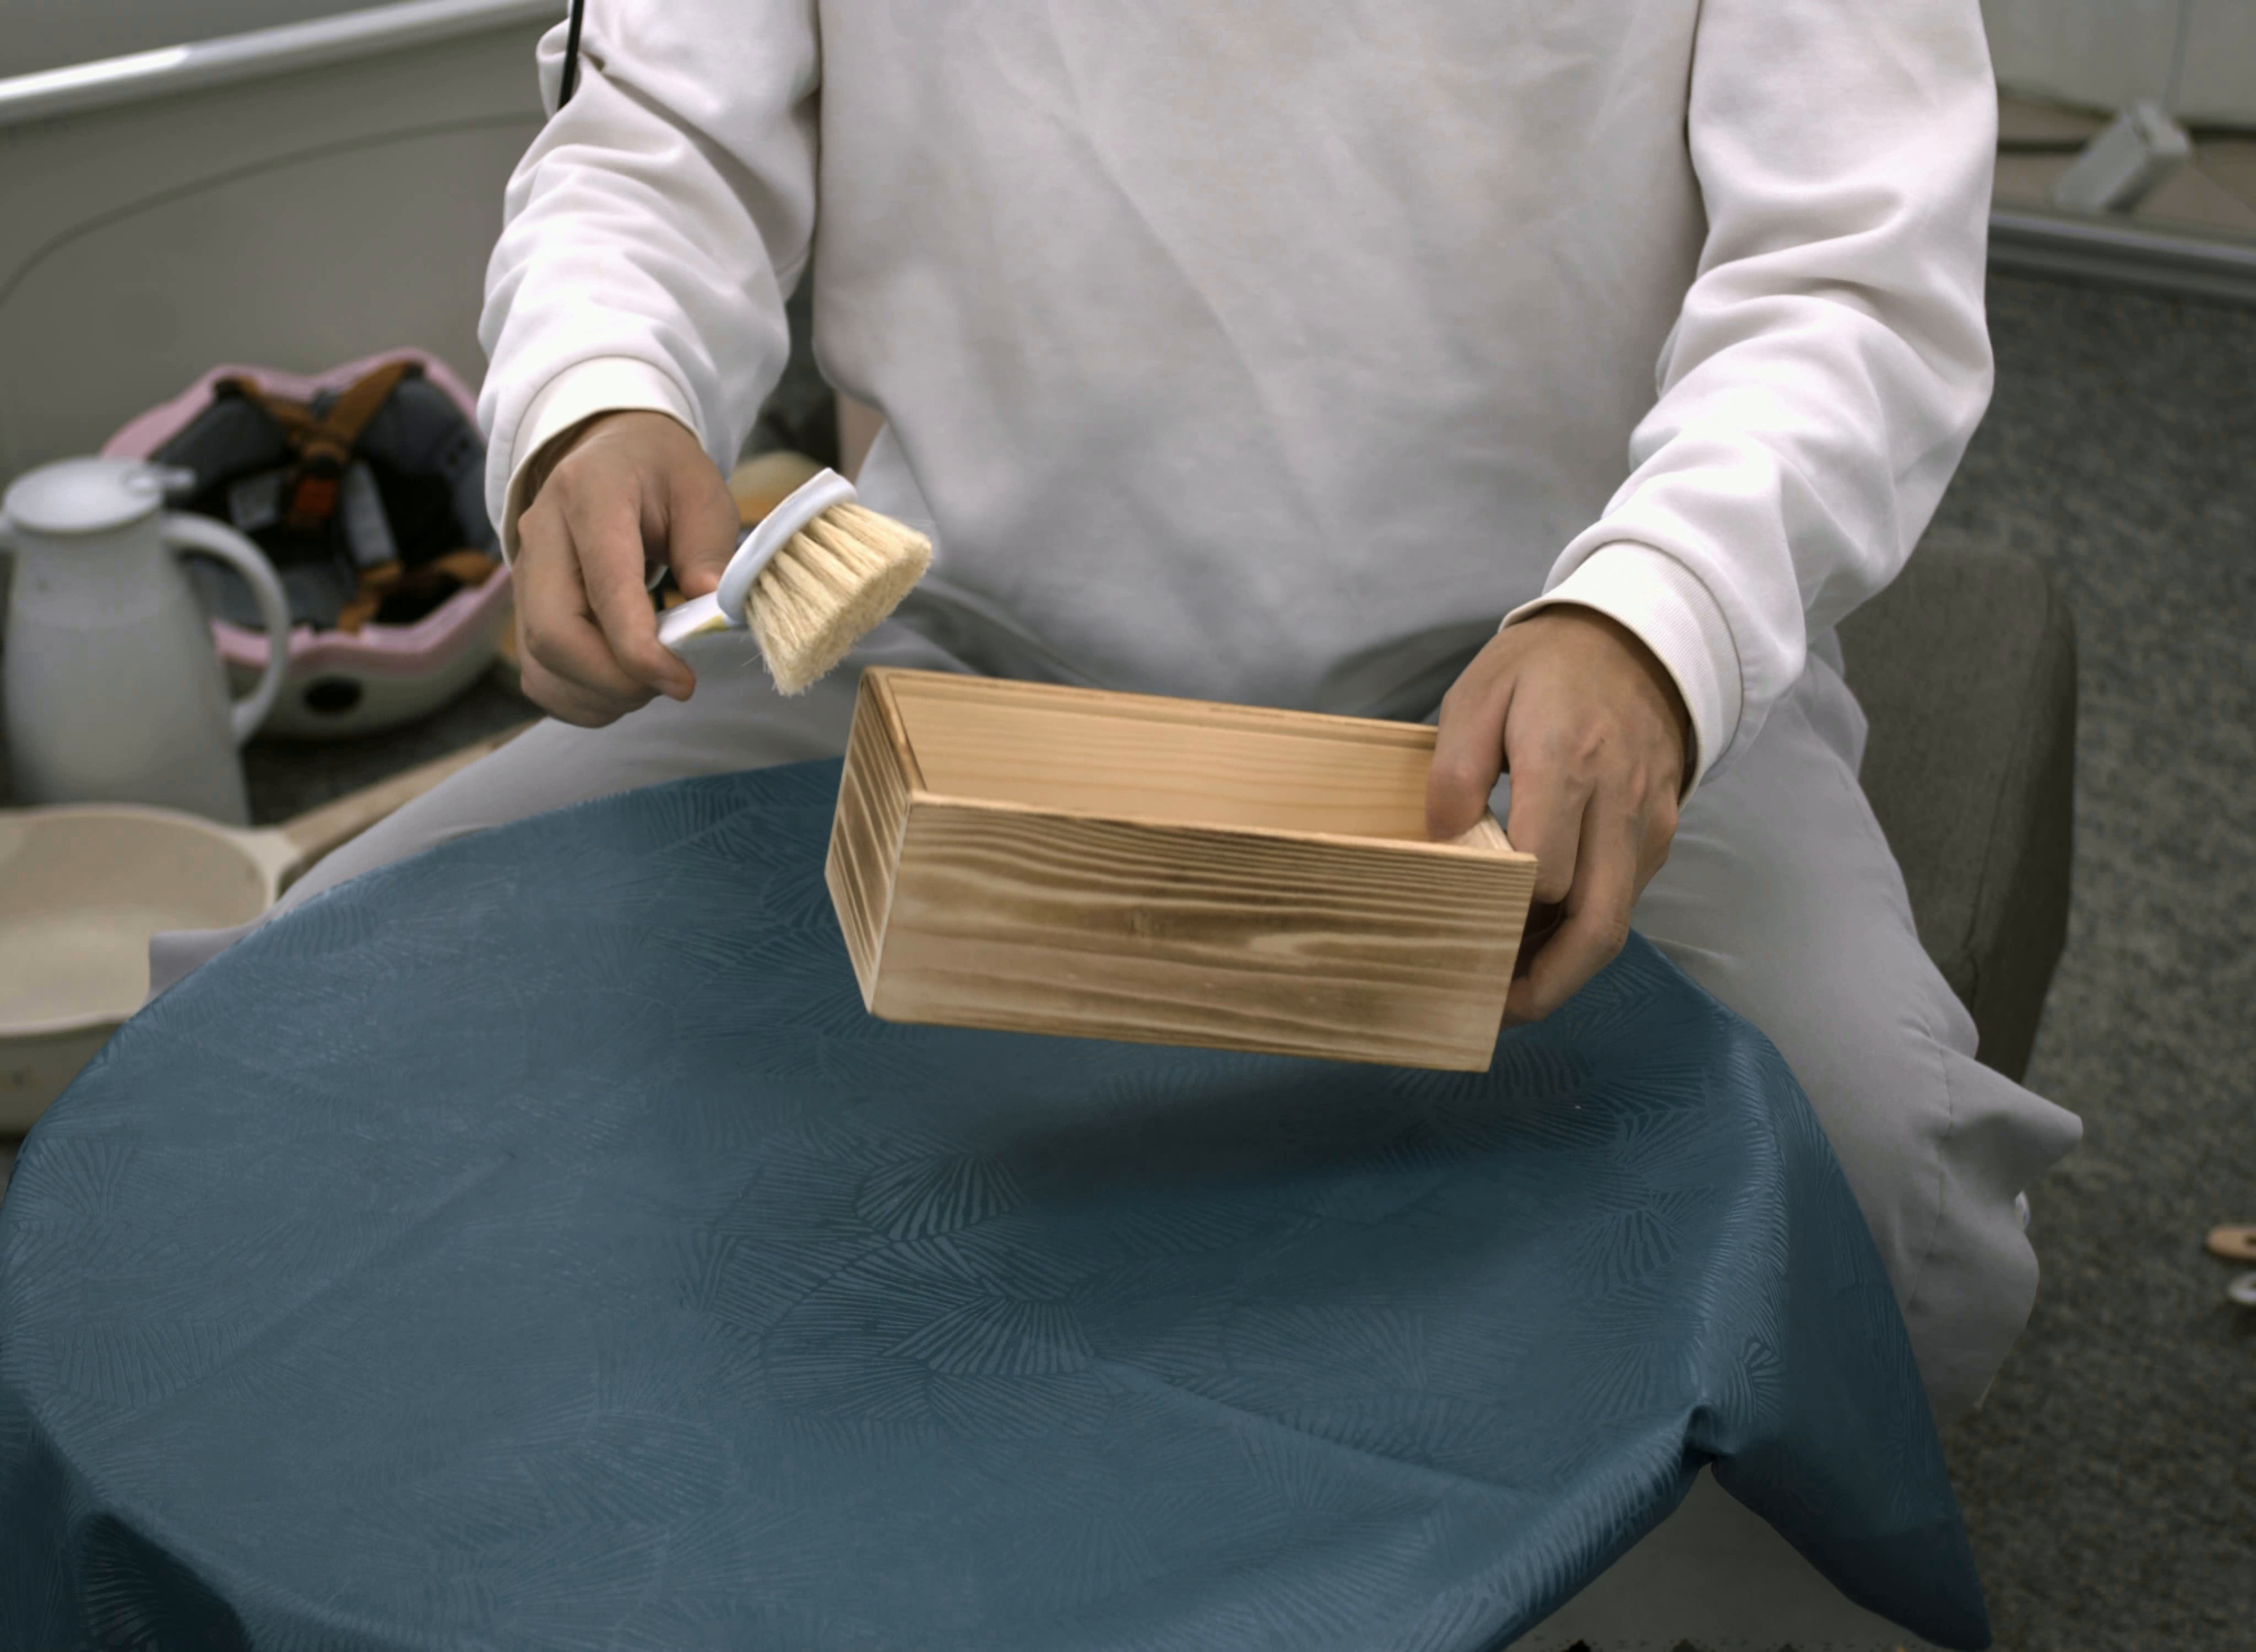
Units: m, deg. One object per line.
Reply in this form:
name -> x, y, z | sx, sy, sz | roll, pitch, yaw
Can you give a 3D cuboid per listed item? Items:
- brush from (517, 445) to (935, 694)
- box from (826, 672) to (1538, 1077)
brush -> -0.142, -0.066, 1.929 | 0.069, 0.056, 0.263 | -34, 3, -30
box -> 0.015, 0.016, 1.857 | 0.211, 0.079, 0.108 | 5, 23, -16
